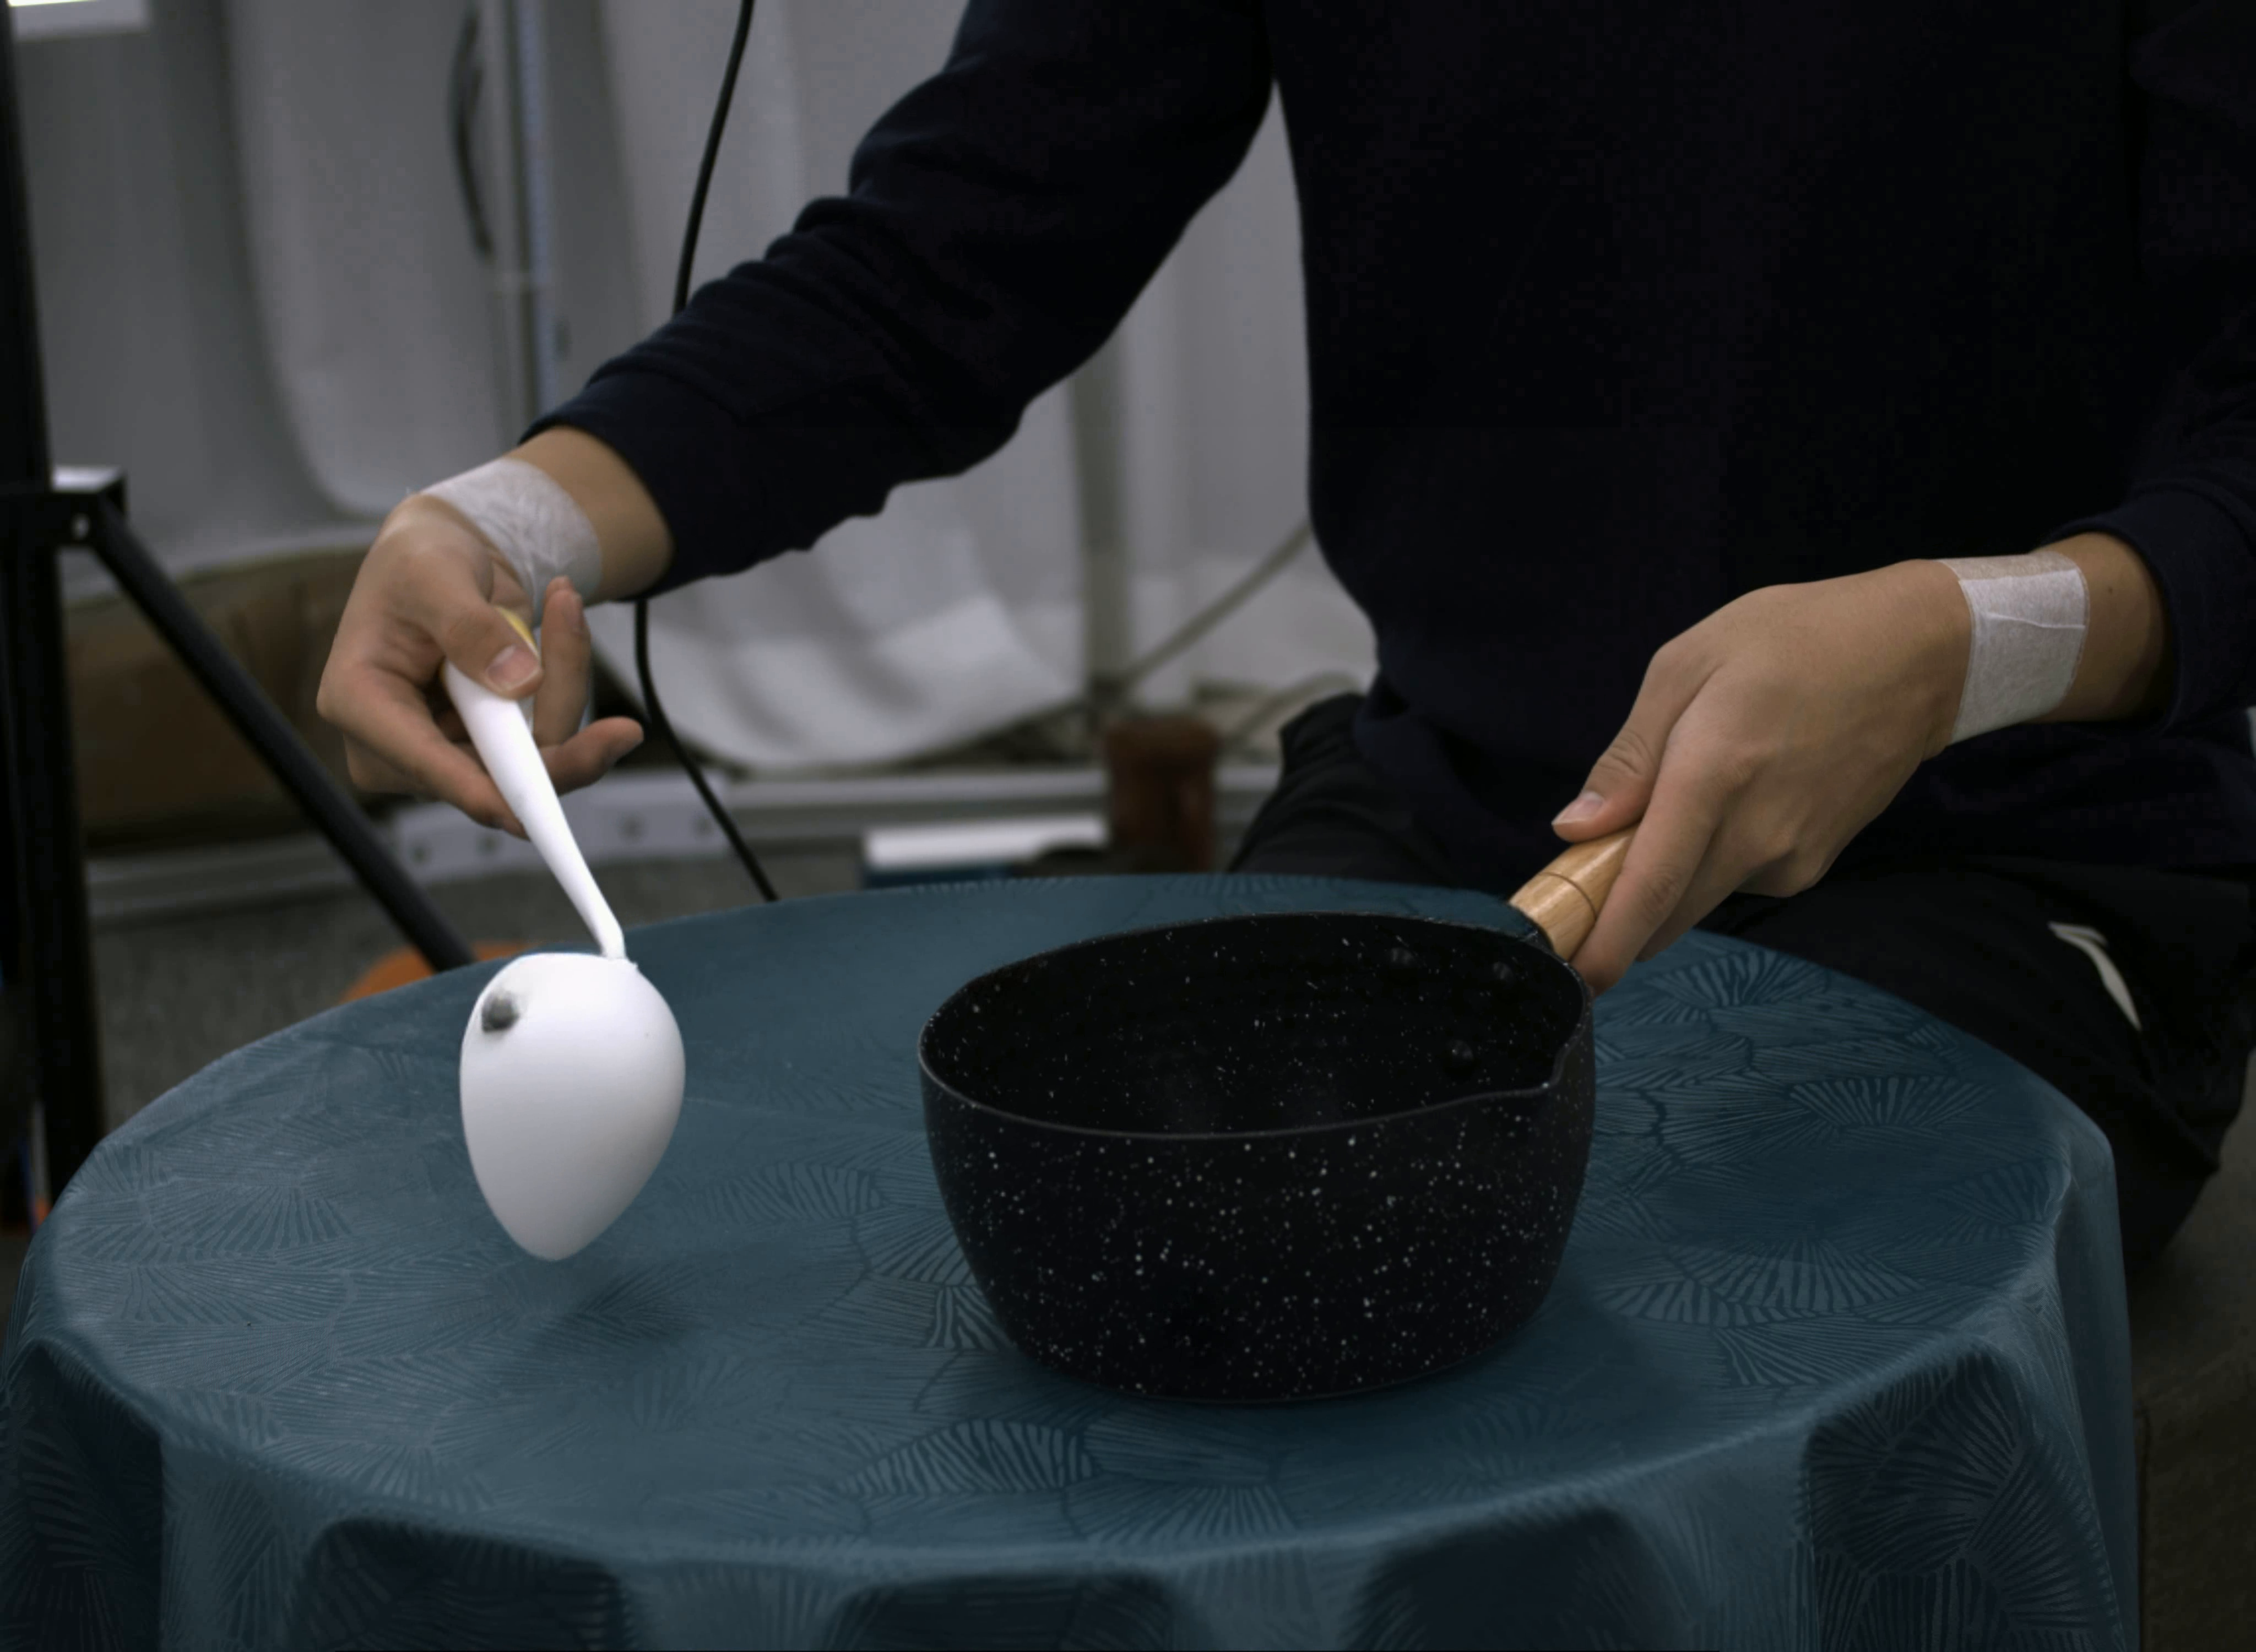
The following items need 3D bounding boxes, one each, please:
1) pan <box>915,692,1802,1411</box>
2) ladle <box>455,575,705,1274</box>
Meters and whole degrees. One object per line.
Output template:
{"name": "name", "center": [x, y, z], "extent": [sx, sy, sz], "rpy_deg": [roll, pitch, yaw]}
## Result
{"name": "pan", "center": [0.087, 0.059, 1.497], "extent": [0.212, 0.108, 0.336], "rpy_deg": [8, 23, 40]}
{"name": "ladle", "center": [-0.178, 0.018, 1.580], "extent": [0.070, 0.089, 0.298], "rpy_deg": [-26, 35, 0]}
